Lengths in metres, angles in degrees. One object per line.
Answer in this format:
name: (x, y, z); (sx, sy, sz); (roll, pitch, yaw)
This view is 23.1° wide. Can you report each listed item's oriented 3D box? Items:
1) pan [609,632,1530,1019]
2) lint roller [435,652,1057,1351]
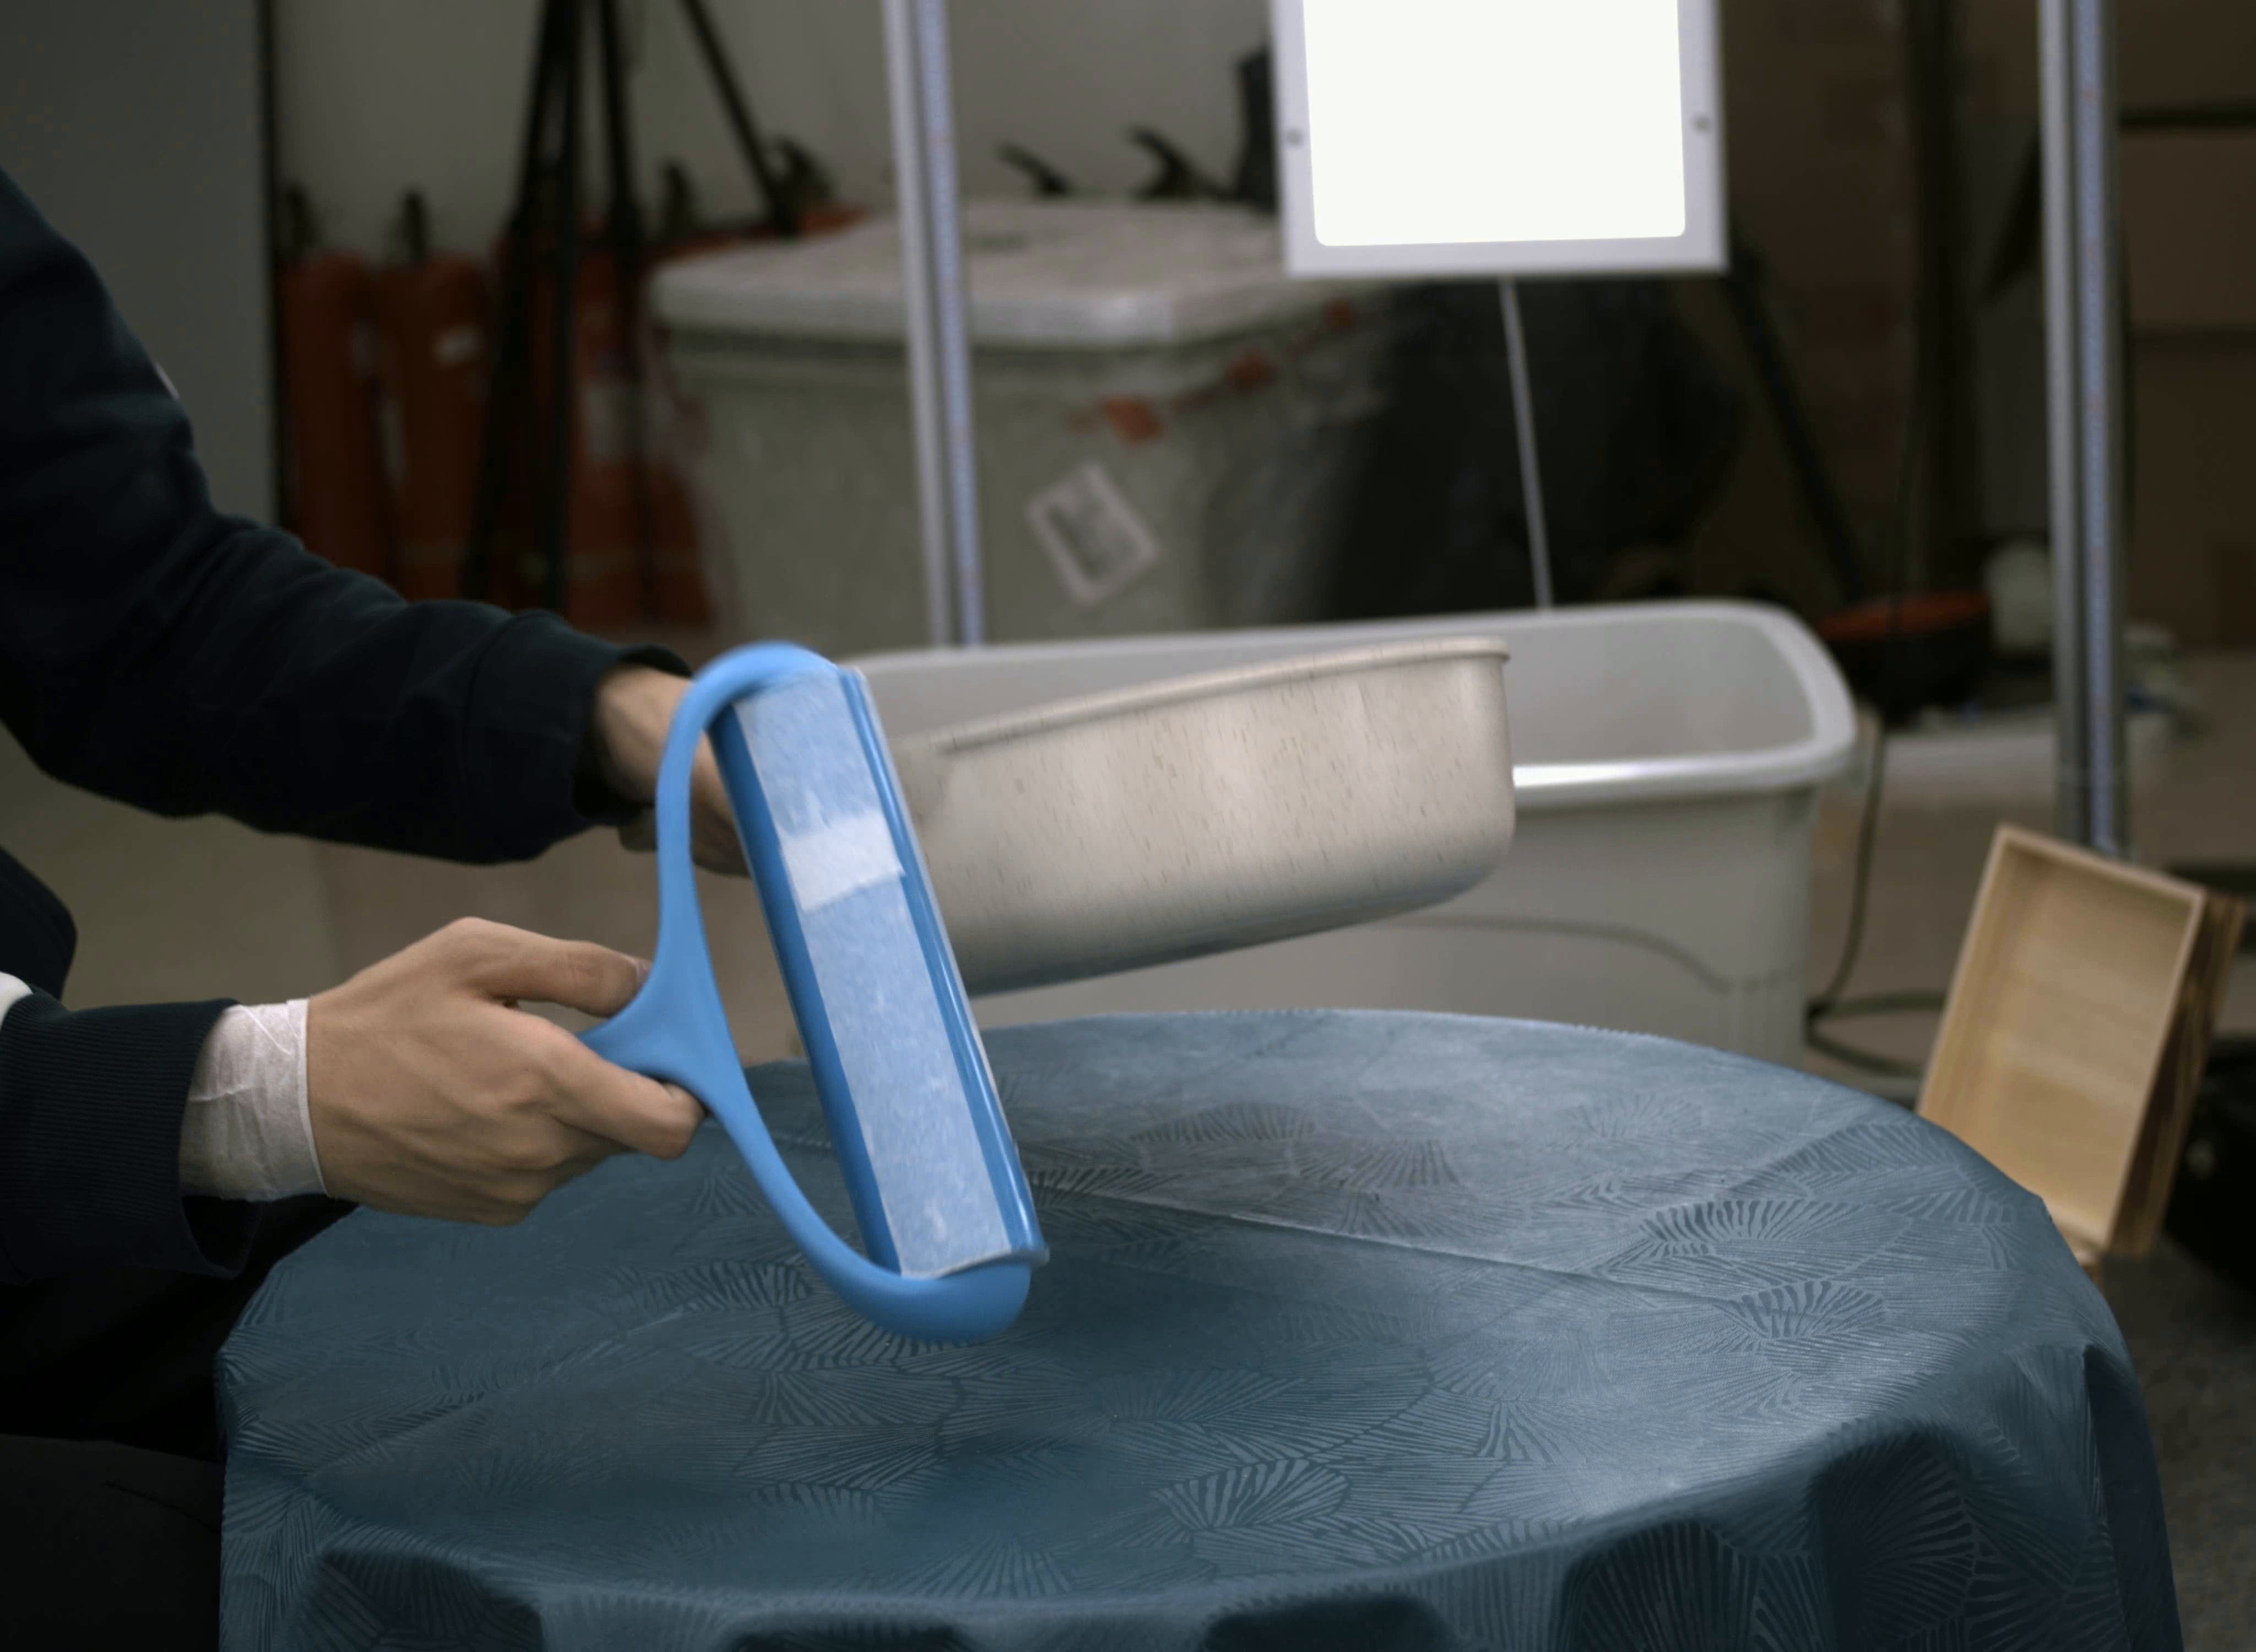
pan: (-0.040, 0.013, 1.940); (0.256, 0.102, 0.445); (-11, -3, -40)
lint roller: (-0.131, 0.072, 1.690); (0.180, 0.230, 0.068); (-20, -16, 1)
